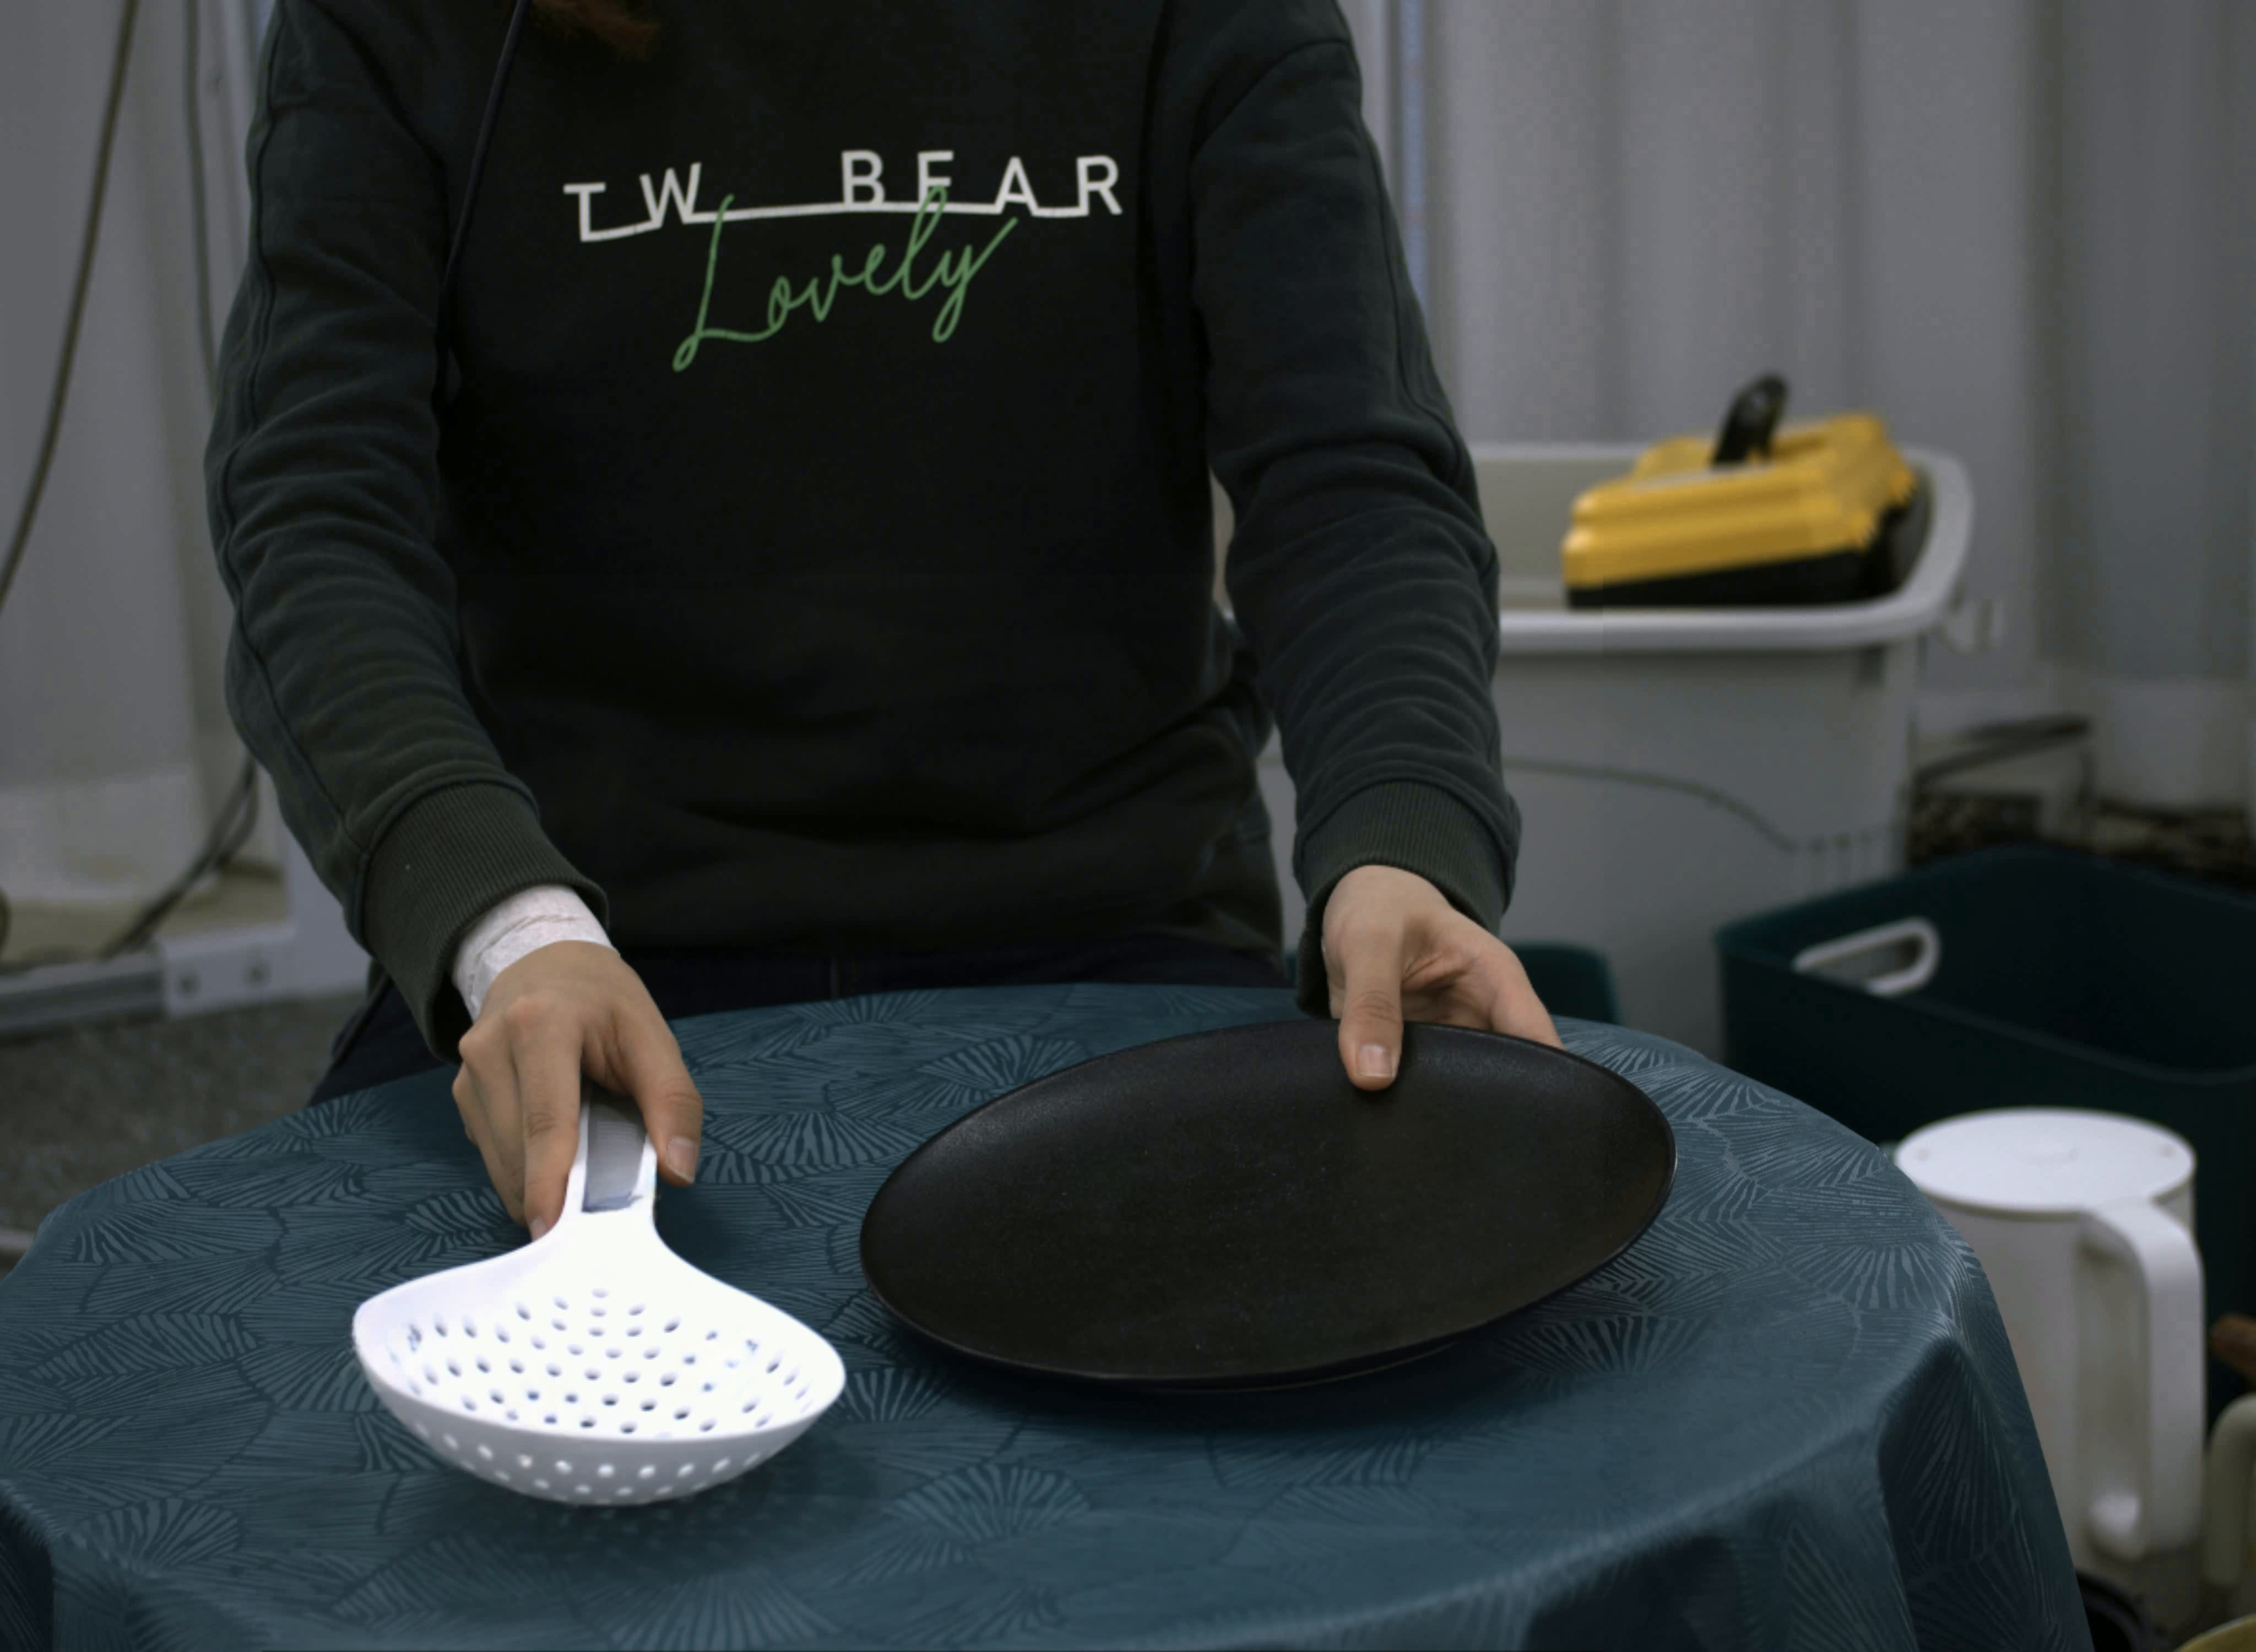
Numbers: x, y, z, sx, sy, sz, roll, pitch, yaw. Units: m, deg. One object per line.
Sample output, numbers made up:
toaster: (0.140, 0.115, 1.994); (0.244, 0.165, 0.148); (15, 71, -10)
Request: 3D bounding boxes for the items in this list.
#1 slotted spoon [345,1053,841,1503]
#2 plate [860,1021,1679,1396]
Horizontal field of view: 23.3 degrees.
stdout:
slotted spoon: (-0.152, 0.122, 1.590); (0.135, 0.045, 0.353); (7, 18, -5)
plate: (0.042, 0.116, 1.614); (0.243, 0.023, 0.246); (-7, 21, 2)
